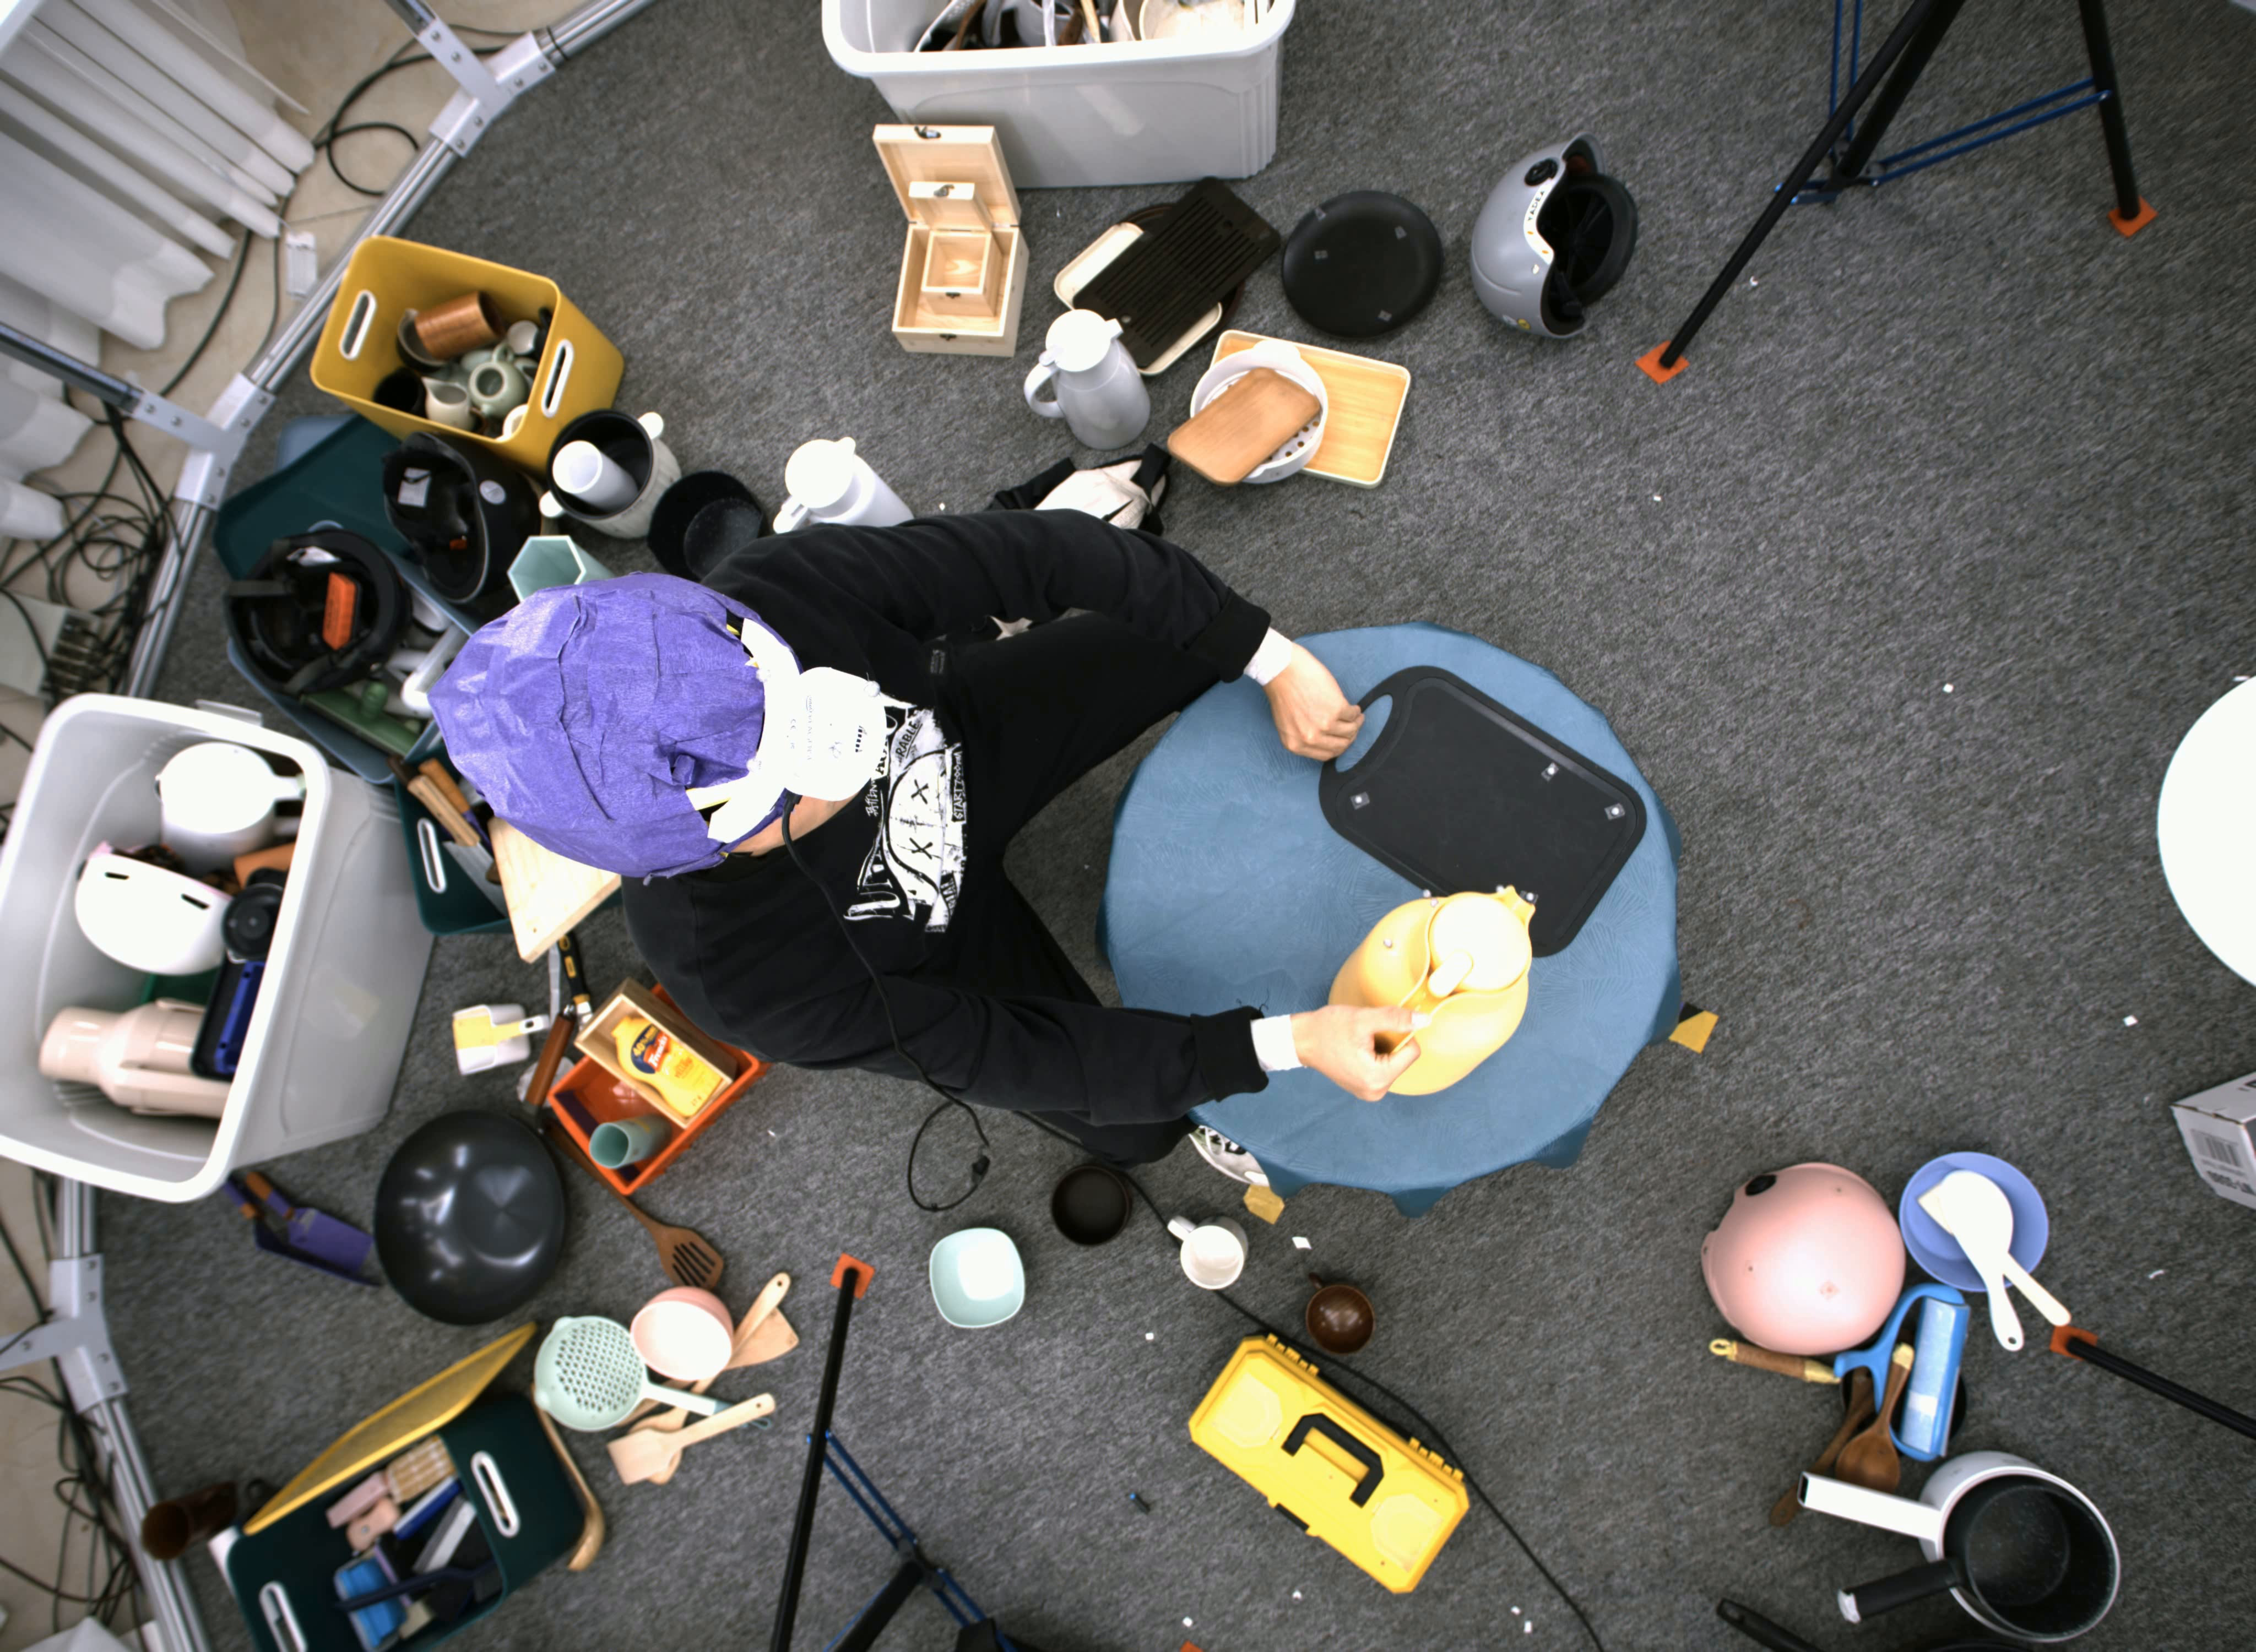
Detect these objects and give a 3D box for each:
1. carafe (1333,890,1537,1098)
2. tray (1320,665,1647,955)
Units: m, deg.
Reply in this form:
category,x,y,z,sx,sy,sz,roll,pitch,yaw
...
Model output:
category,x,y,z,sx,sy,sz,roll,pitch,yaw
carafe,0.281,0.162,1.303,0.200,0.266,0.162,-38,73,-19
tray,0.364,-0.025,1.444,0.324,0.010,0.211,35,94,11
